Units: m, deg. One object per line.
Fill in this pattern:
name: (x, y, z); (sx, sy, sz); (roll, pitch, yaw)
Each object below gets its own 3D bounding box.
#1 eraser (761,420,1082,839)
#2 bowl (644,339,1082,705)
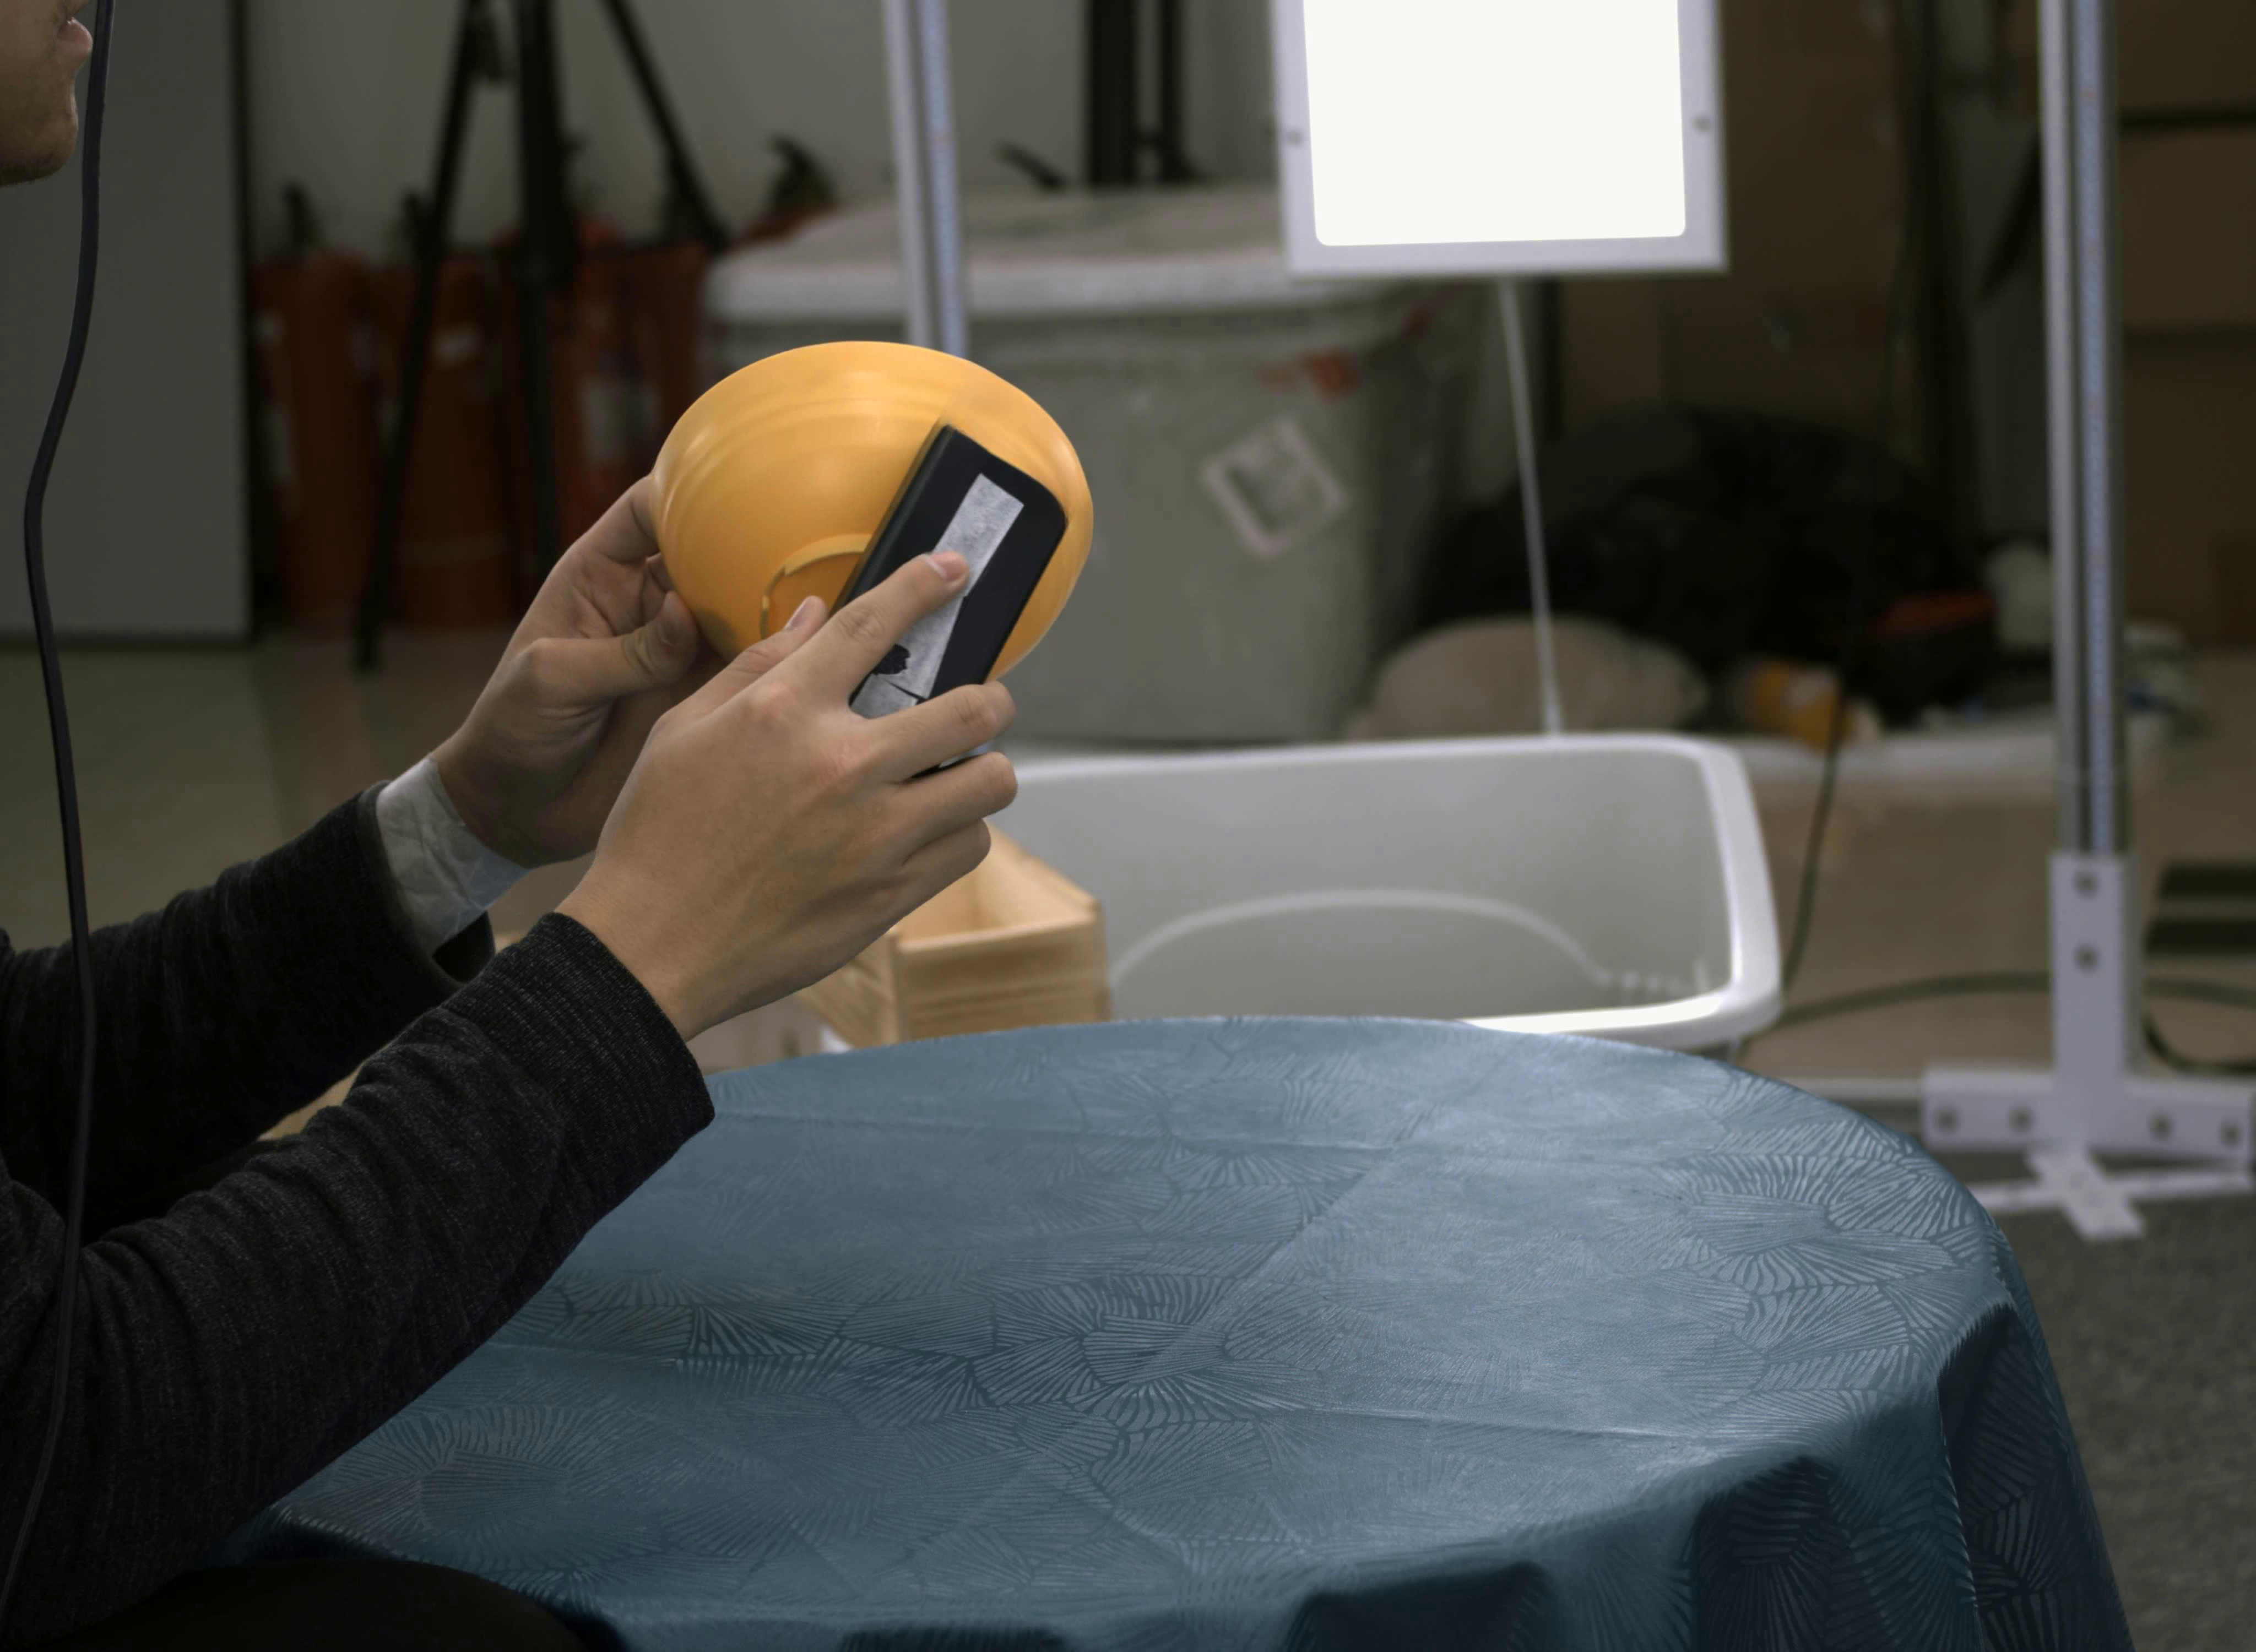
eraser: (-0.065, -0.062, 1.711); (0.053, 0.125, 0.031); (27, -15, -3)
bowl: (-0.088, -0.083, 1.779); (0.146, 0.145, 0.060); (-2, 42, 9)
